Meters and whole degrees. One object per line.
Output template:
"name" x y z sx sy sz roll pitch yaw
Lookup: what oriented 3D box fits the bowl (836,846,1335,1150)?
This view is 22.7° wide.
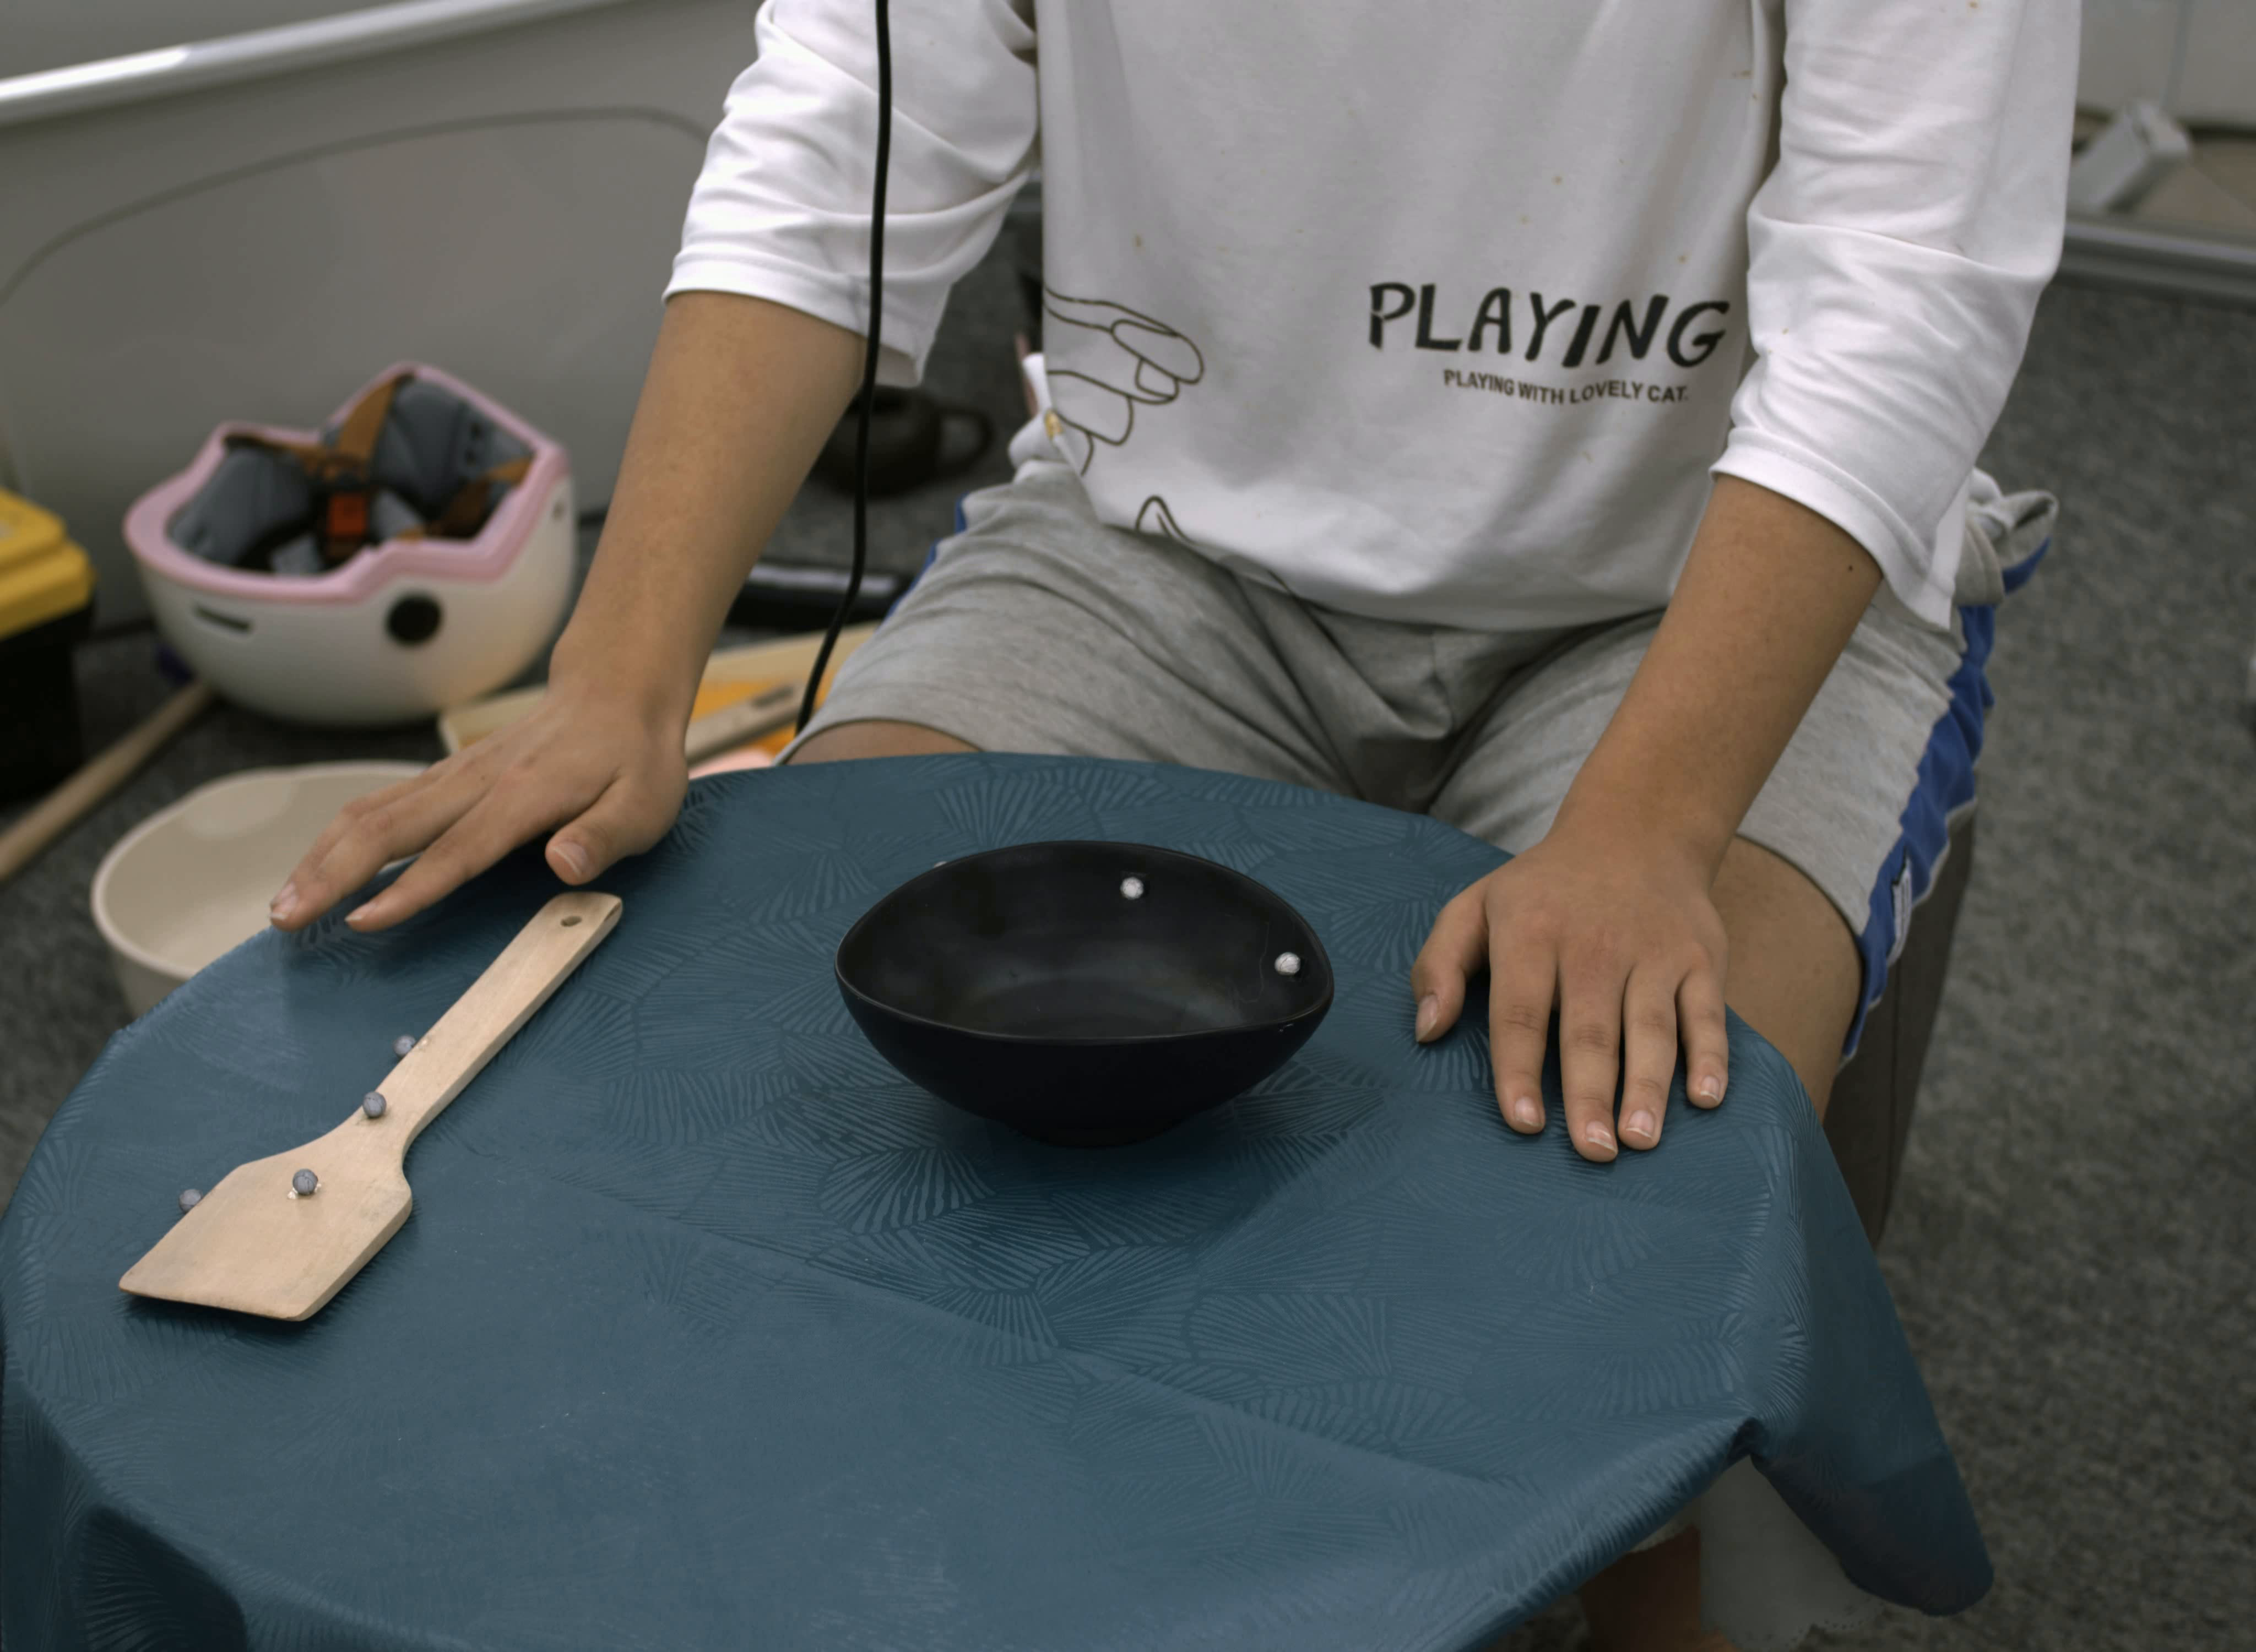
"bowl" -0.014 0.065 1.907 0.169 0.066 0.139 3 27 6

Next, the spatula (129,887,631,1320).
"spatula" -0.244 0.091 1.934 0.072 0.010 0.298 7 29 20
